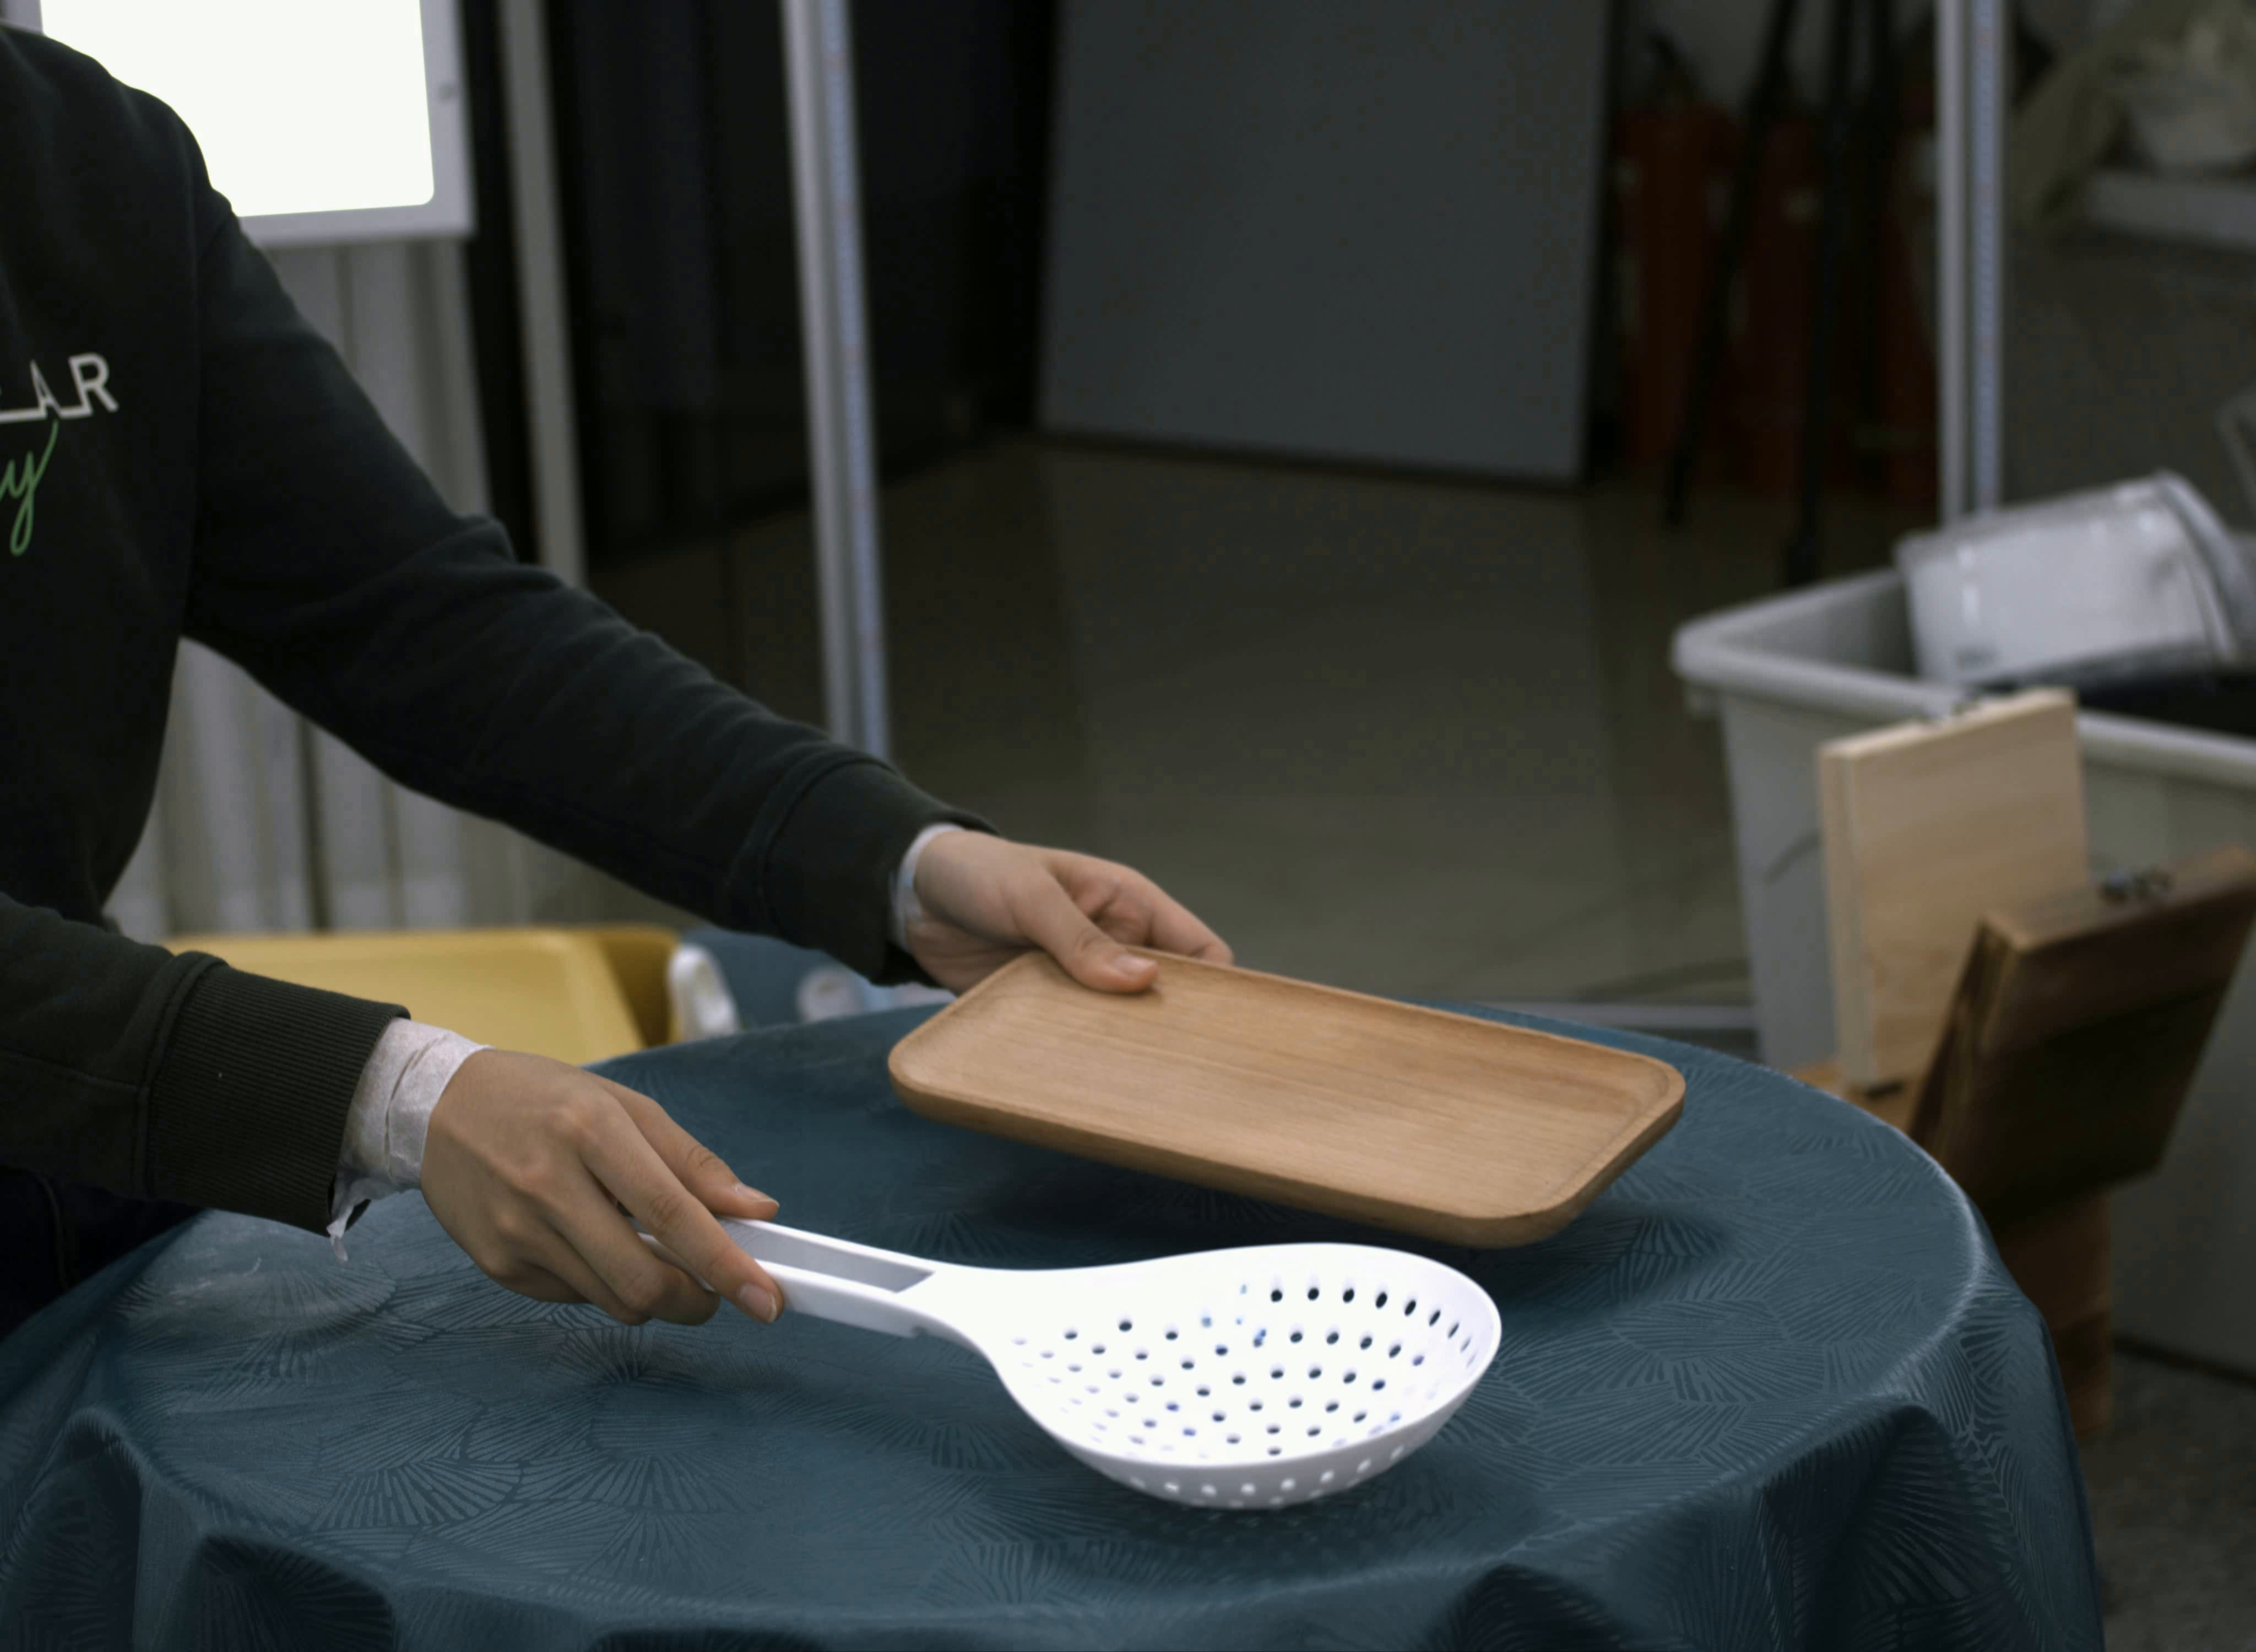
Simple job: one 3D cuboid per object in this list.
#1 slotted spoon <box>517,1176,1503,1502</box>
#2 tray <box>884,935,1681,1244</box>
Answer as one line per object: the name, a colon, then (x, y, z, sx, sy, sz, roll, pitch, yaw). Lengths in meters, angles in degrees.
slotted spoon: (-0.046, 0.138, 1.564, 0.352, 0.046, 0.134, 13, 27, 37)
tray: (0.048, 0.083, 1.730, 0.252, 0.023, 0.128, 10, 25, 32)
